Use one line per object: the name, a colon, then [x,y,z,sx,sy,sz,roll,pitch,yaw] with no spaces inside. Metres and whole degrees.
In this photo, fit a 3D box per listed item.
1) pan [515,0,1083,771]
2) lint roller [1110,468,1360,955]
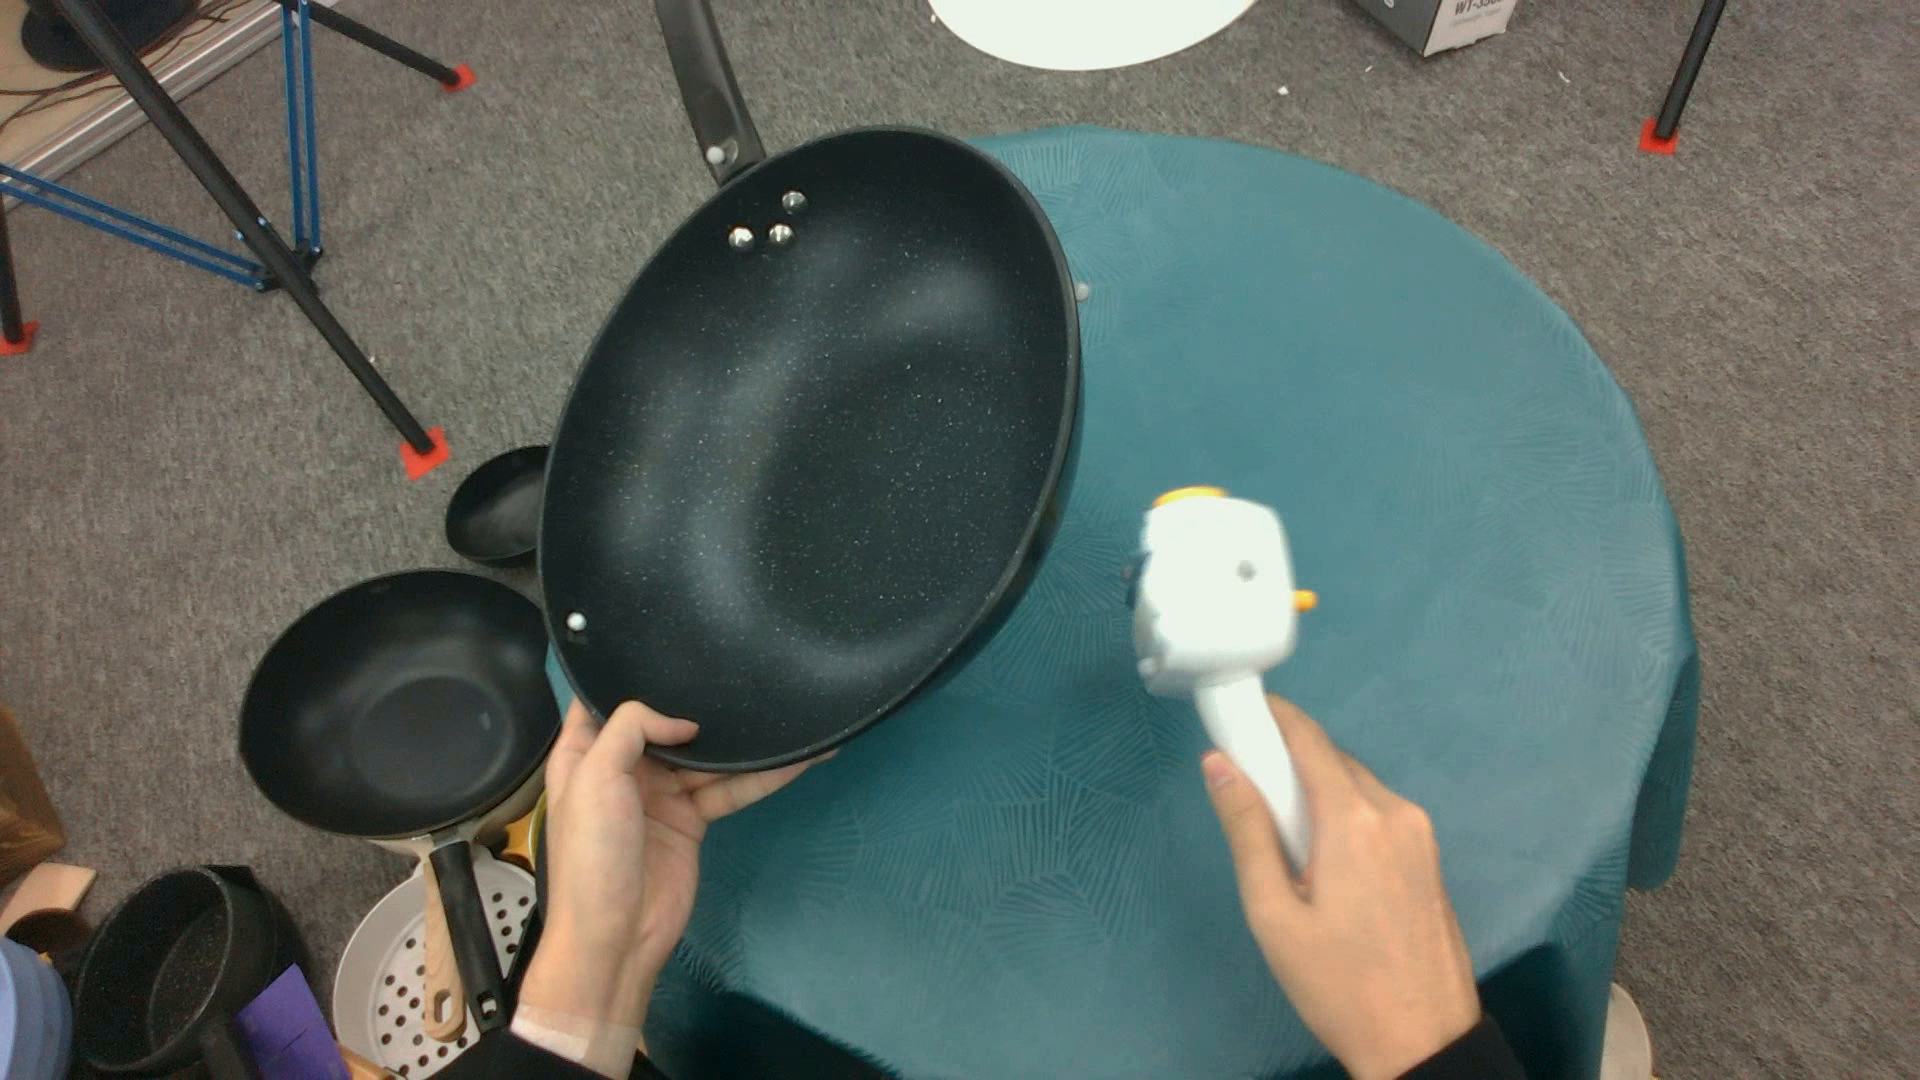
pan: [-0.092,-0.114,0.679,0.309,0.111,0.478,-26,60,21]
lint roller: [0.111,0.074,0.555,0.074,0.192,0.192,-11,83,-3]
